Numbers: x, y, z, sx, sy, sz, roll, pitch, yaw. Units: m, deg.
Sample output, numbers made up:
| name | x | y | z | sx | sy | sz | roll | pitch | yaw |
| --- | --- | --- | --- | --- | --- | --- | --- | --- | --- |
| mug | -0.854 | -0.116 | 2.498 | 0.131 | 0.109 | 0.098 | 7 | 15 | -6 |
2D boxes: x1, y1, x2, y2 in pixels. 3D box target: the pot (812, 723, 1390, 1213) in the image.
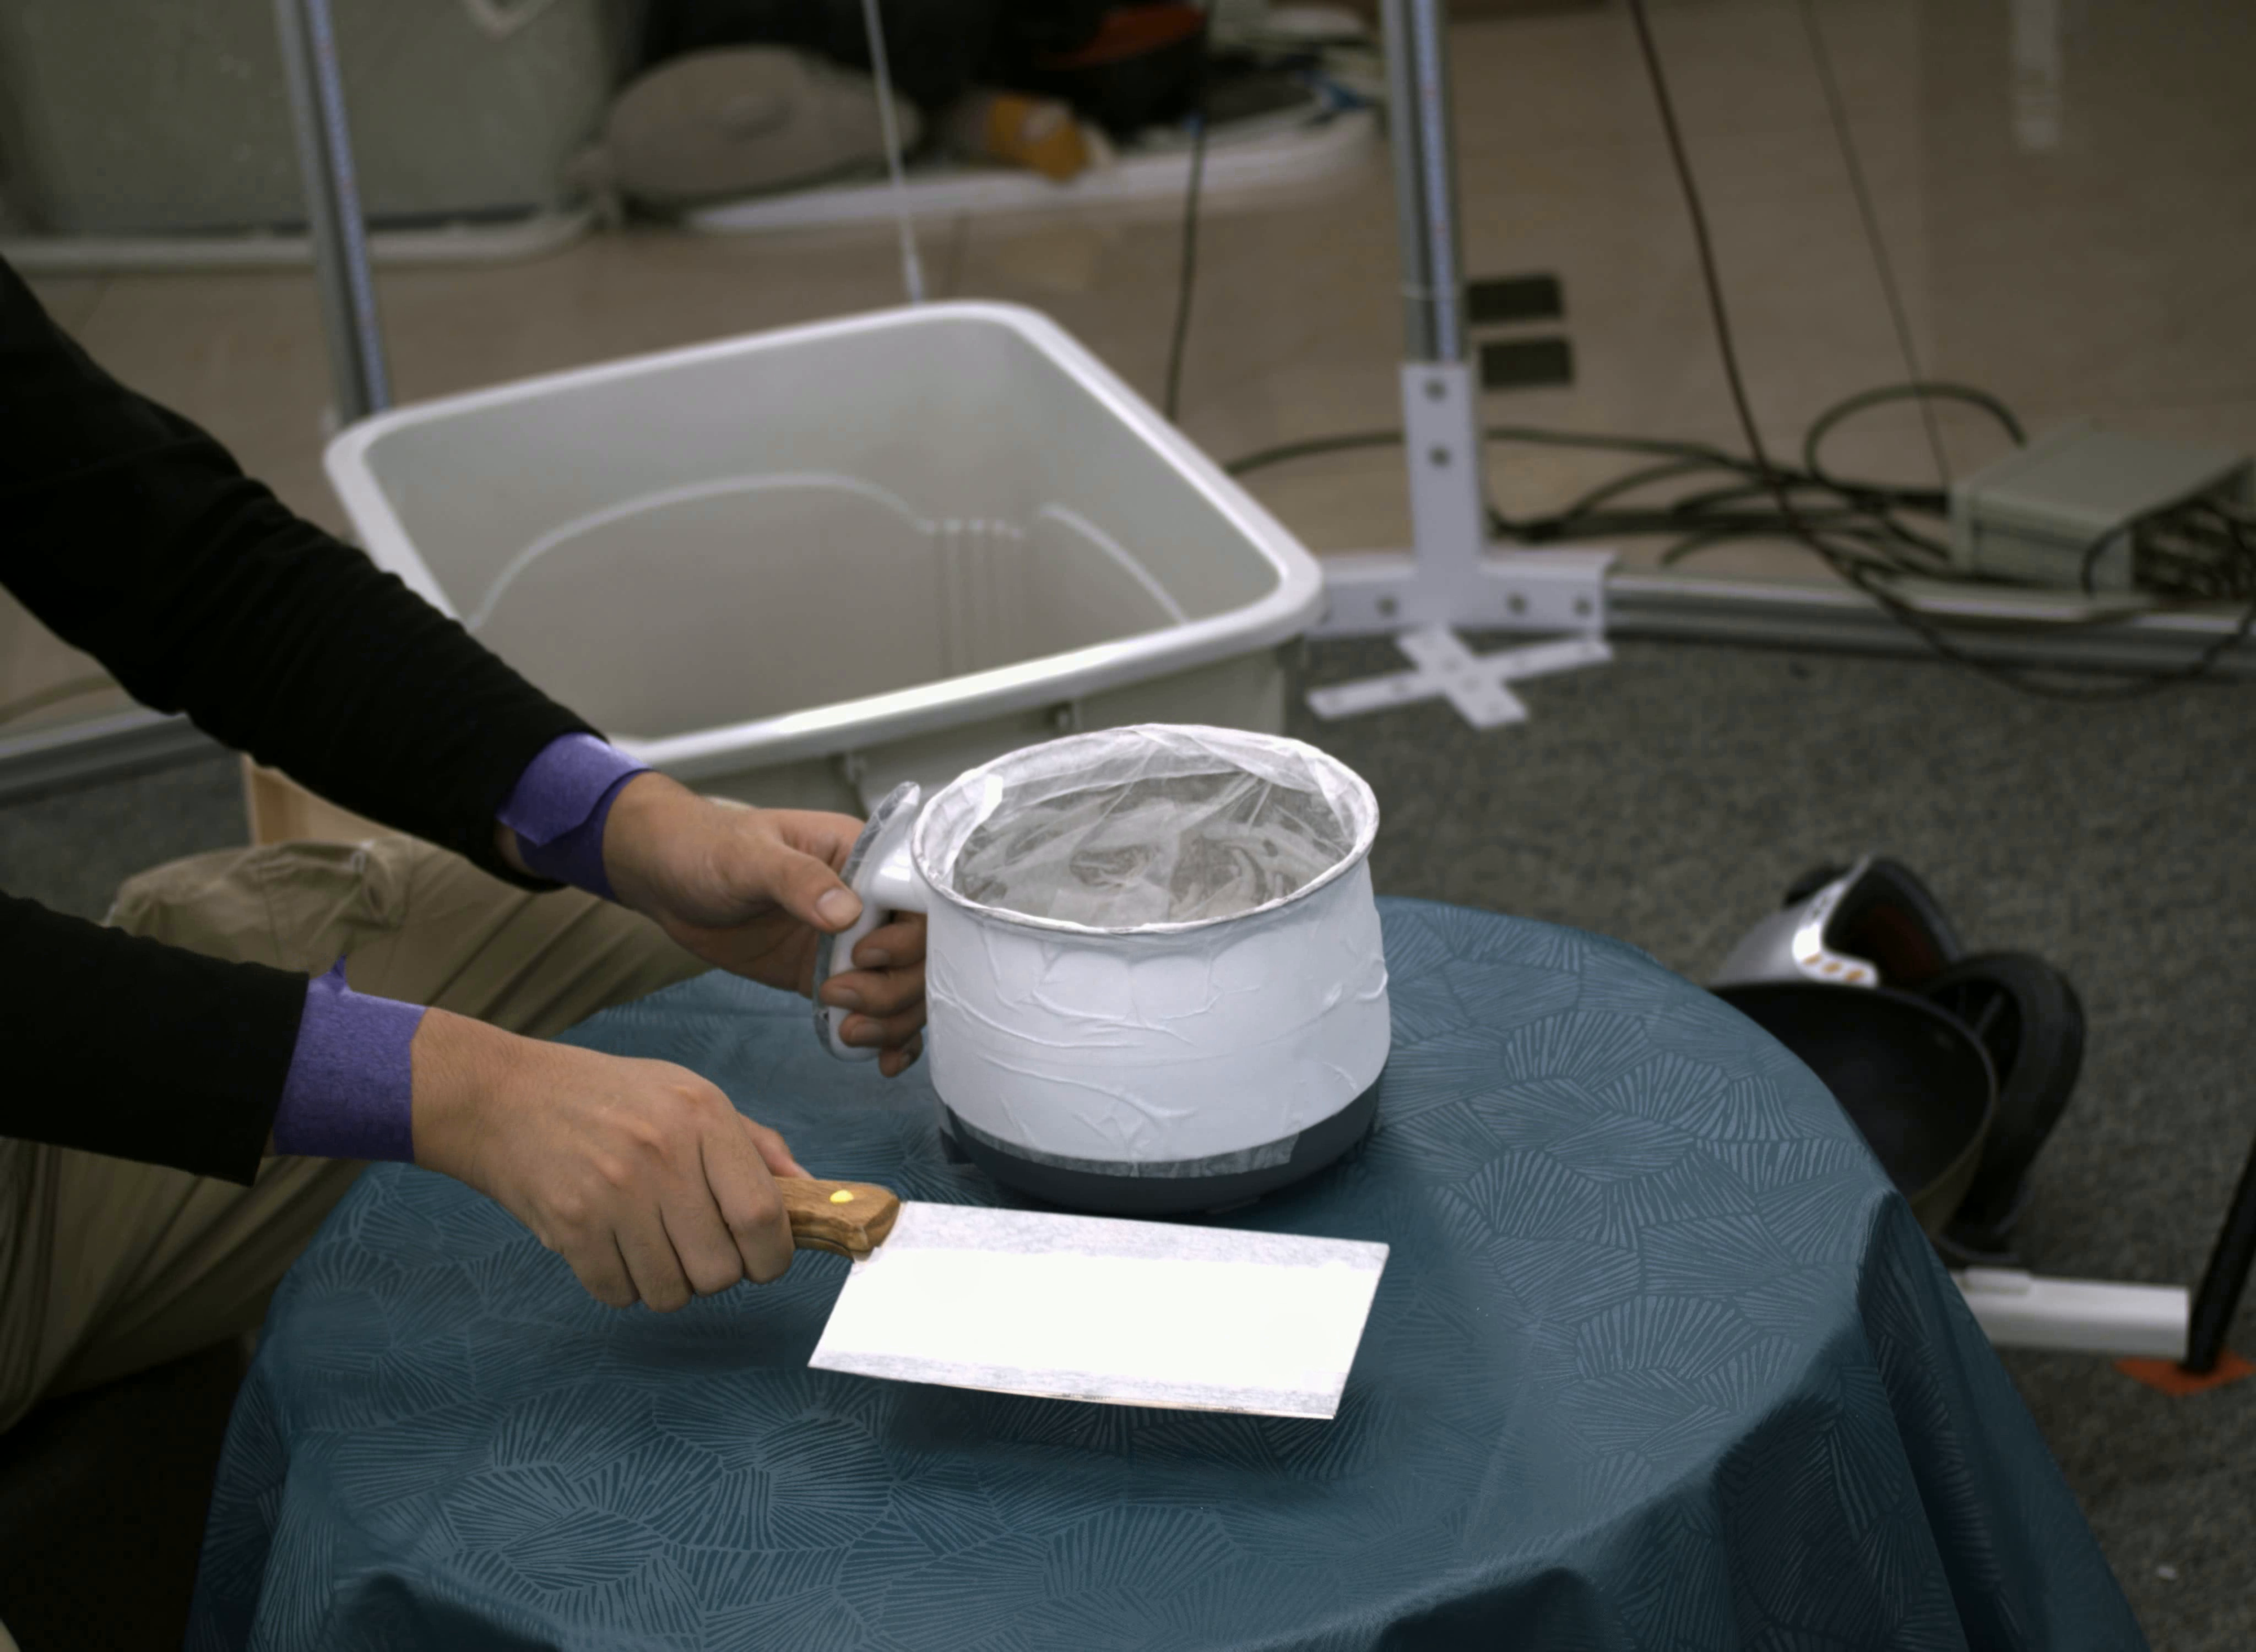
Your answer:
| name | x | y | z | sx | sy | sz | roll | pitch | yaw |
| --- | --- | --- | --- | --- | --- | --- | --- | --- | --- |
| pot | -0.015 | 0.052 | 2.164 | 0.233 | 0.139 | 0.176 | 8 | 28 | 21 |

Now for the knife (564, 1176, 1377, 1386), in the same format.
| name | x | y | z | sx | sy | sz | roll | pitch | yaw |
| --- | --- | --- | --- | --- | --- | --- | --- | --- | --- |
| knife | -0.065 | 0.163 | 2.008 | 0.305 | 0.021 | 0.091 | 3 | 37 | 16 |
